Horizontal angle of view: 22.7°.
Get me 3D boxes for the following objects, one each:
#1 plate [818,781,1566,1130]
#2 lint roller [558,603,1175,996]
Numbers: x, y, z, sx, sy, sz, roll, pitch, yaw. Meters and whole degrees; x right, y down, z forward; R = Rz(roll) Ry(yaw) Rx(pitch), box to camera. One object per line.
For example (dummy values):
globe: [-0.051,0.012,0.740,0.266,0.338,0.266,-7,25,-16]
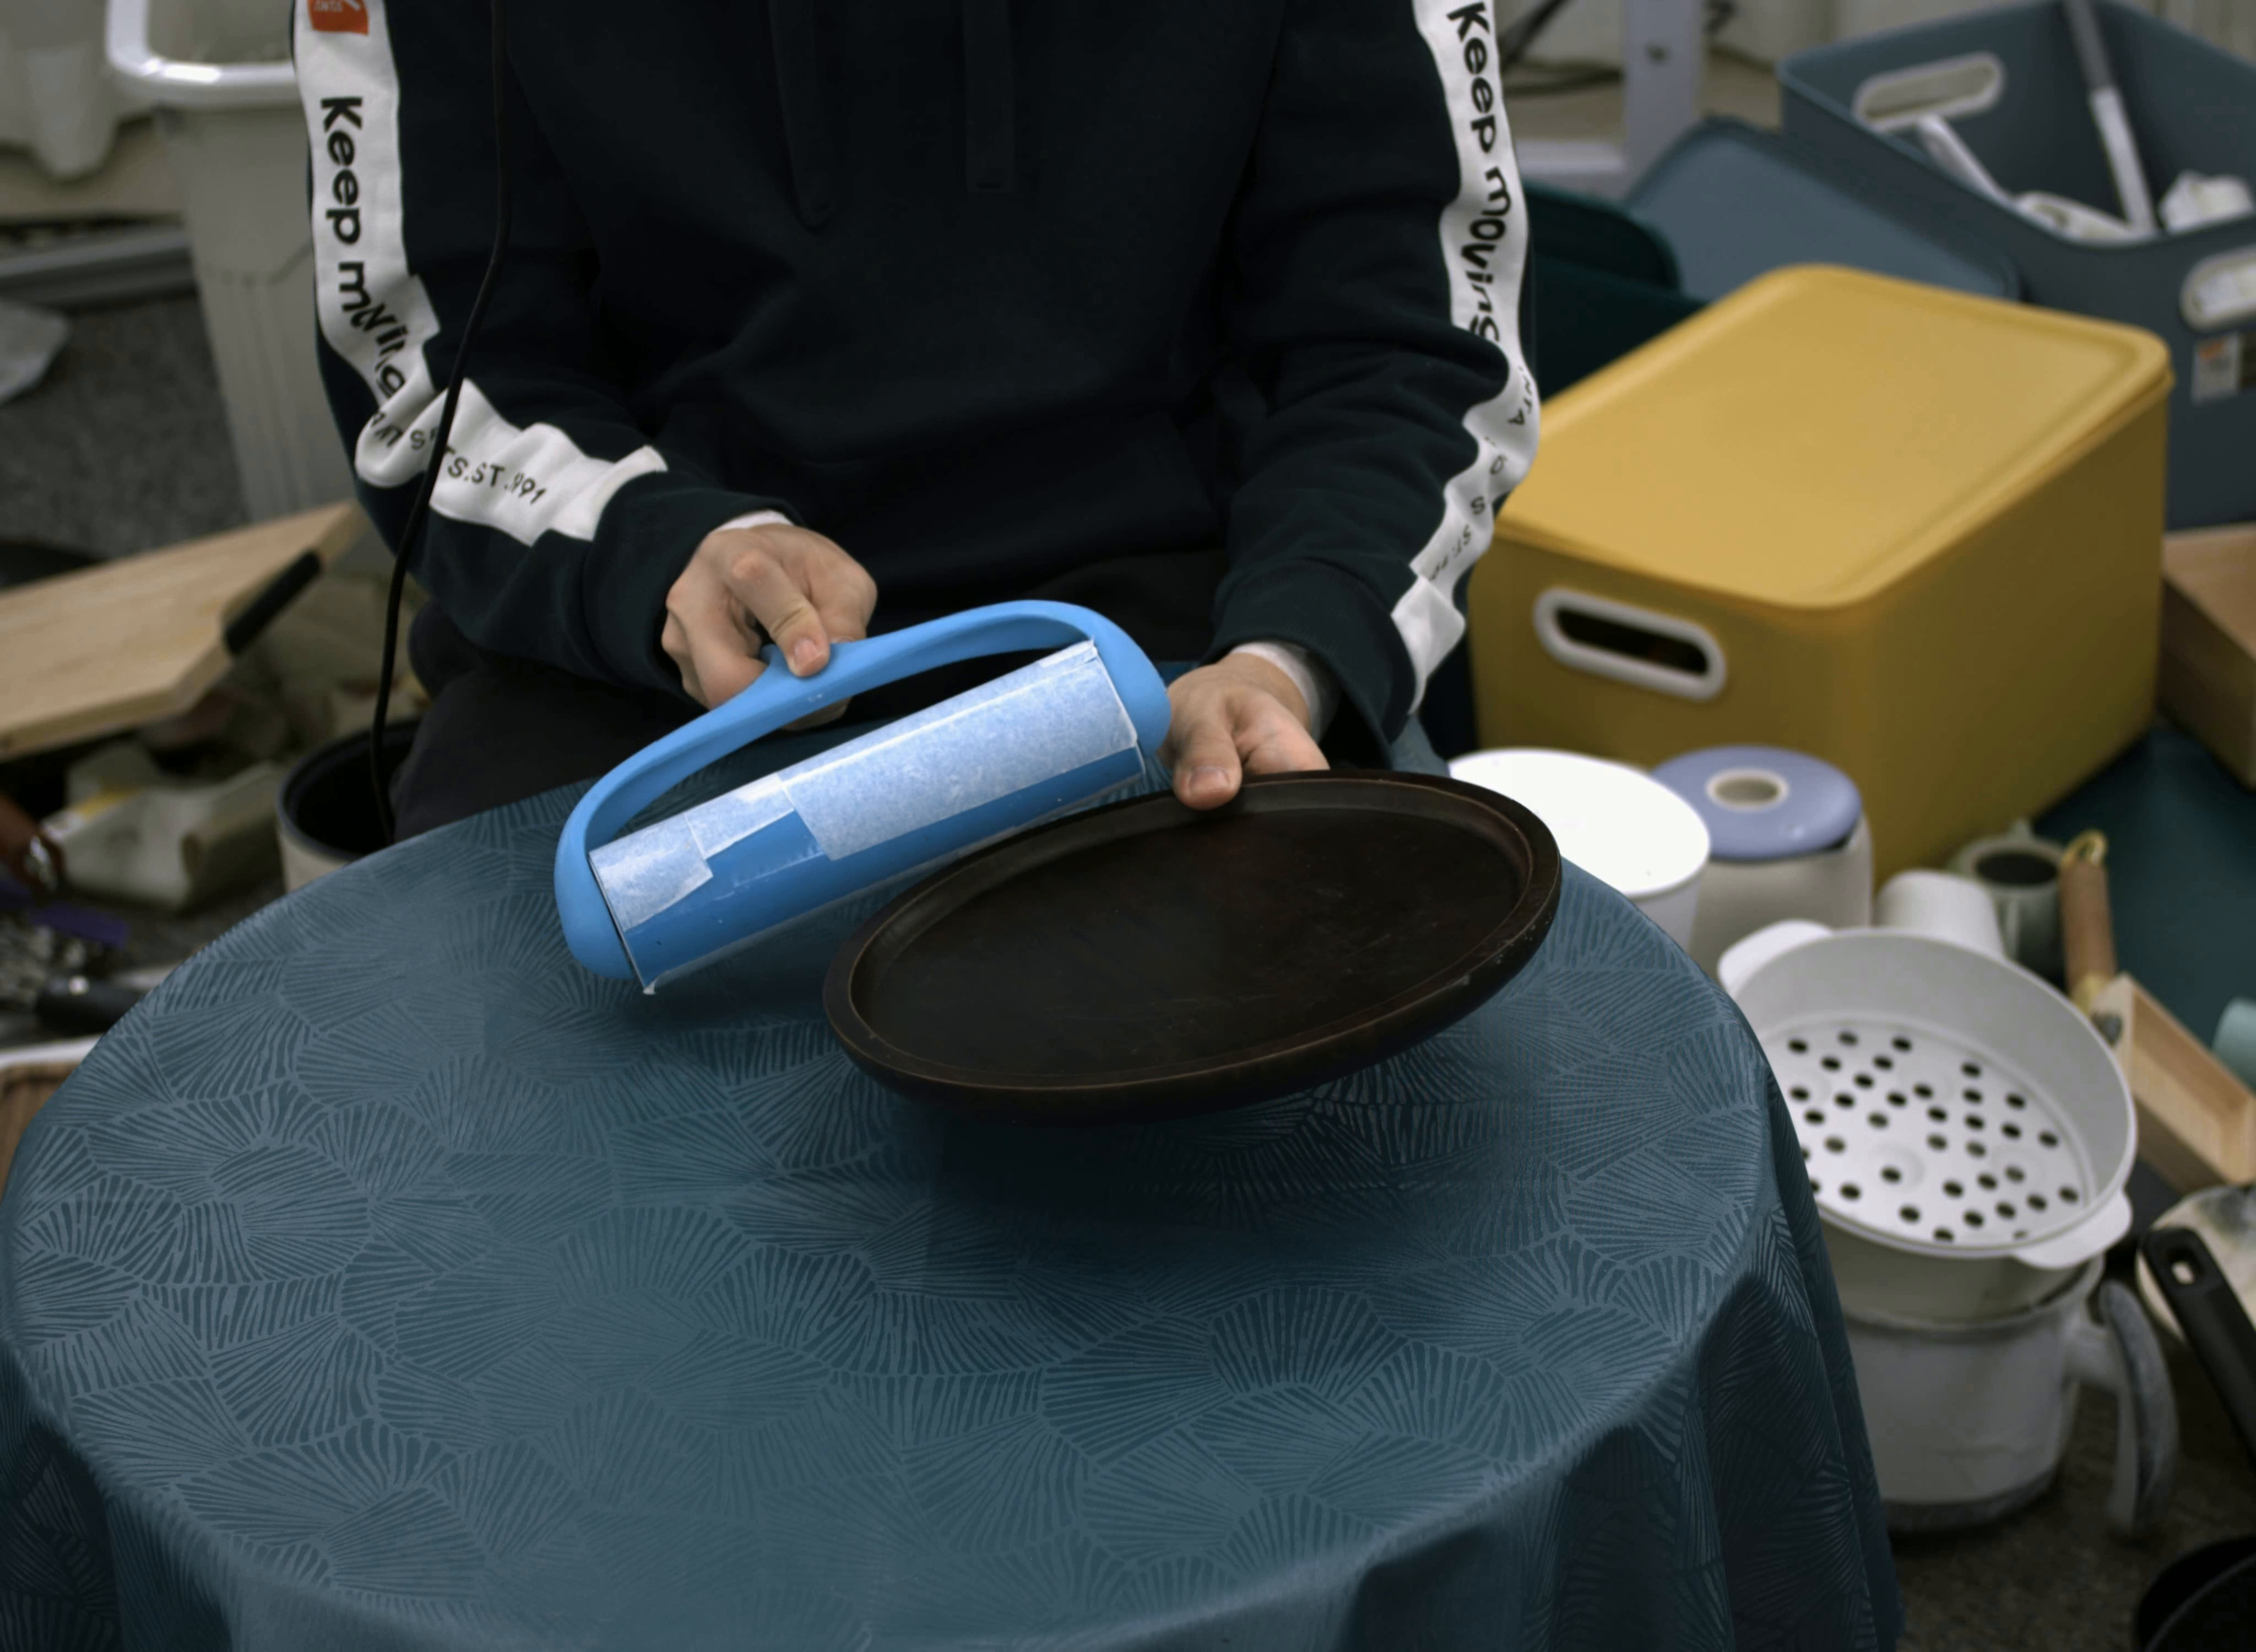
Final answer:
plate: [0.023,0.041,1.880,0.253,0.029,0.258,-9,21,4]
lint roller: [-0.109,-0.031,2.021,0.229,0.067,0.182,-25,33,-8]
